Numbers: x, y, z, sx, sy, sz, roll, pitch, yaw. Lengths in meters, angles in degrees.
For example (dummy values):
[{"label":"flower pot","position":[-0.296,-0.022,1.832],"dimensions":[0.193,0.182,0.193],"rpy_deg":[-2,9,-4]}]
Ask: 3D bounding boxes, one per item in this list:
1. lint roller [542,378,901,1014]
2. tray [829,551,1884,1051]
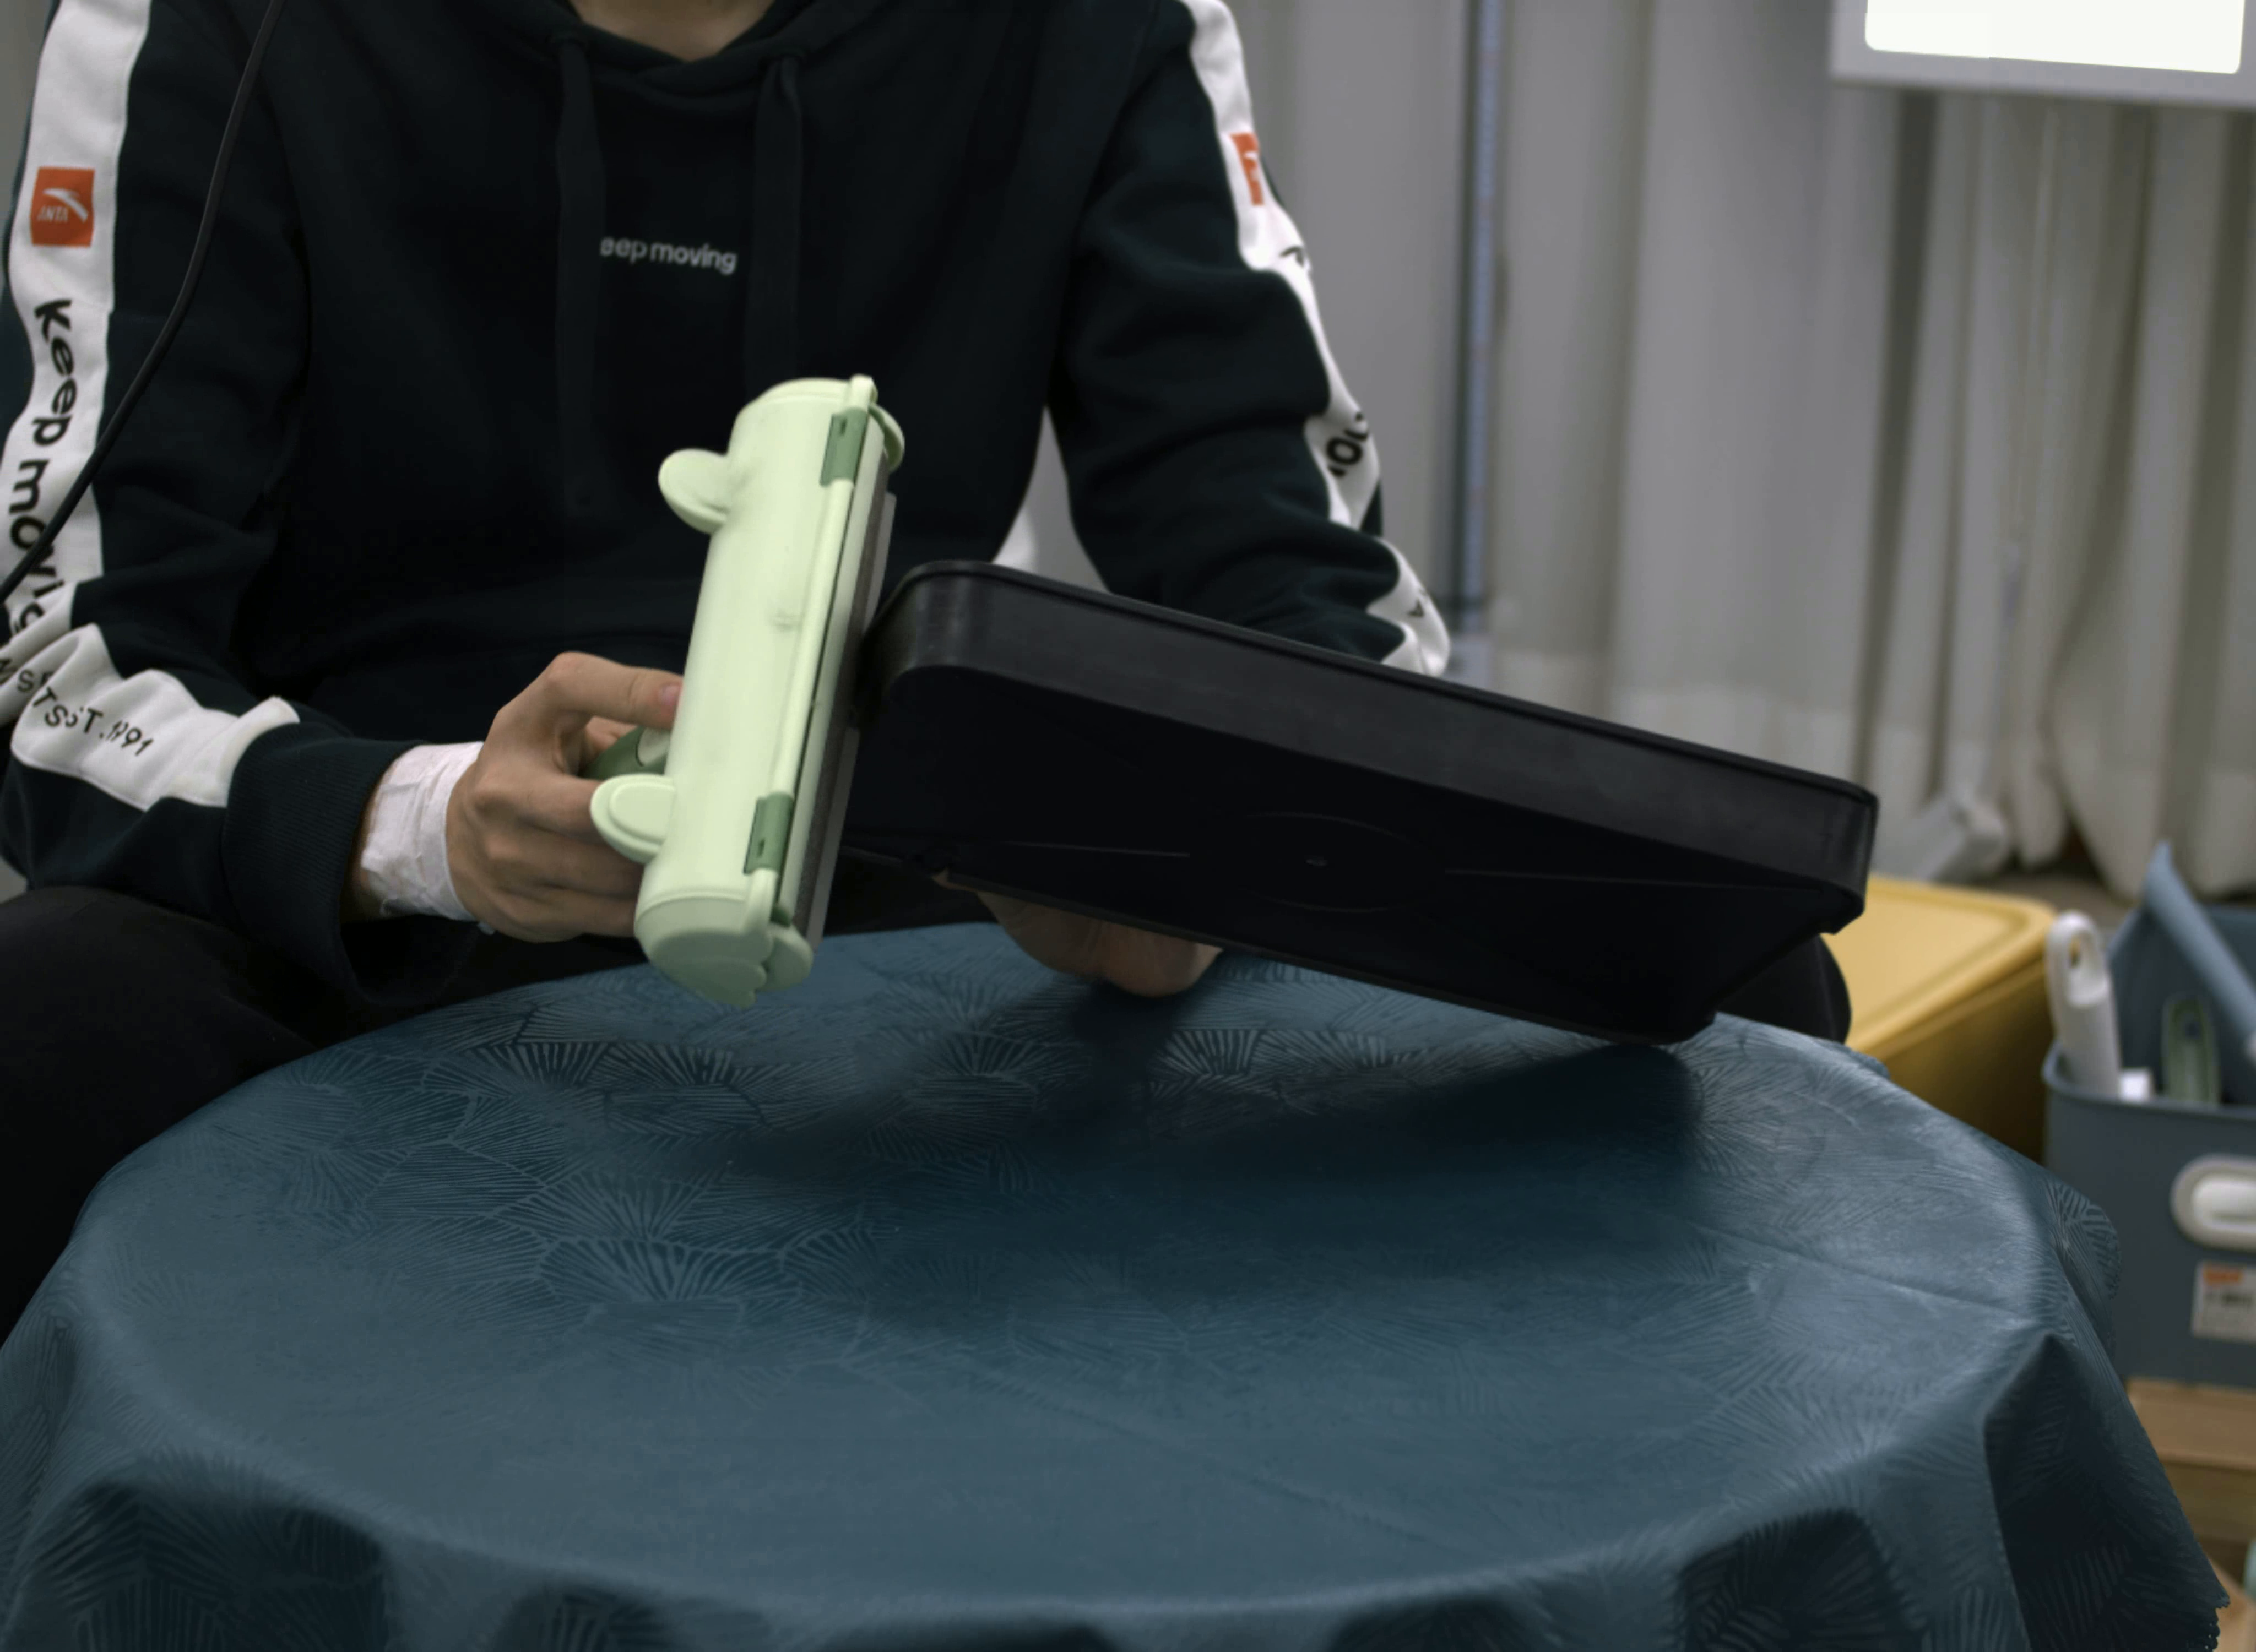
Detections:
[{"label":"lint roller","position":[-0.149,-0.029,1.628],"dimensions":[0.083,0.197,0.182],"rpy_deg":[28,-33,-33]},{"label":"tray","position":[0.061,-0.003,1.654],"dimensions":[0.319,0.037,0.184],"rpy_deg":[14,-22,-13]}]
